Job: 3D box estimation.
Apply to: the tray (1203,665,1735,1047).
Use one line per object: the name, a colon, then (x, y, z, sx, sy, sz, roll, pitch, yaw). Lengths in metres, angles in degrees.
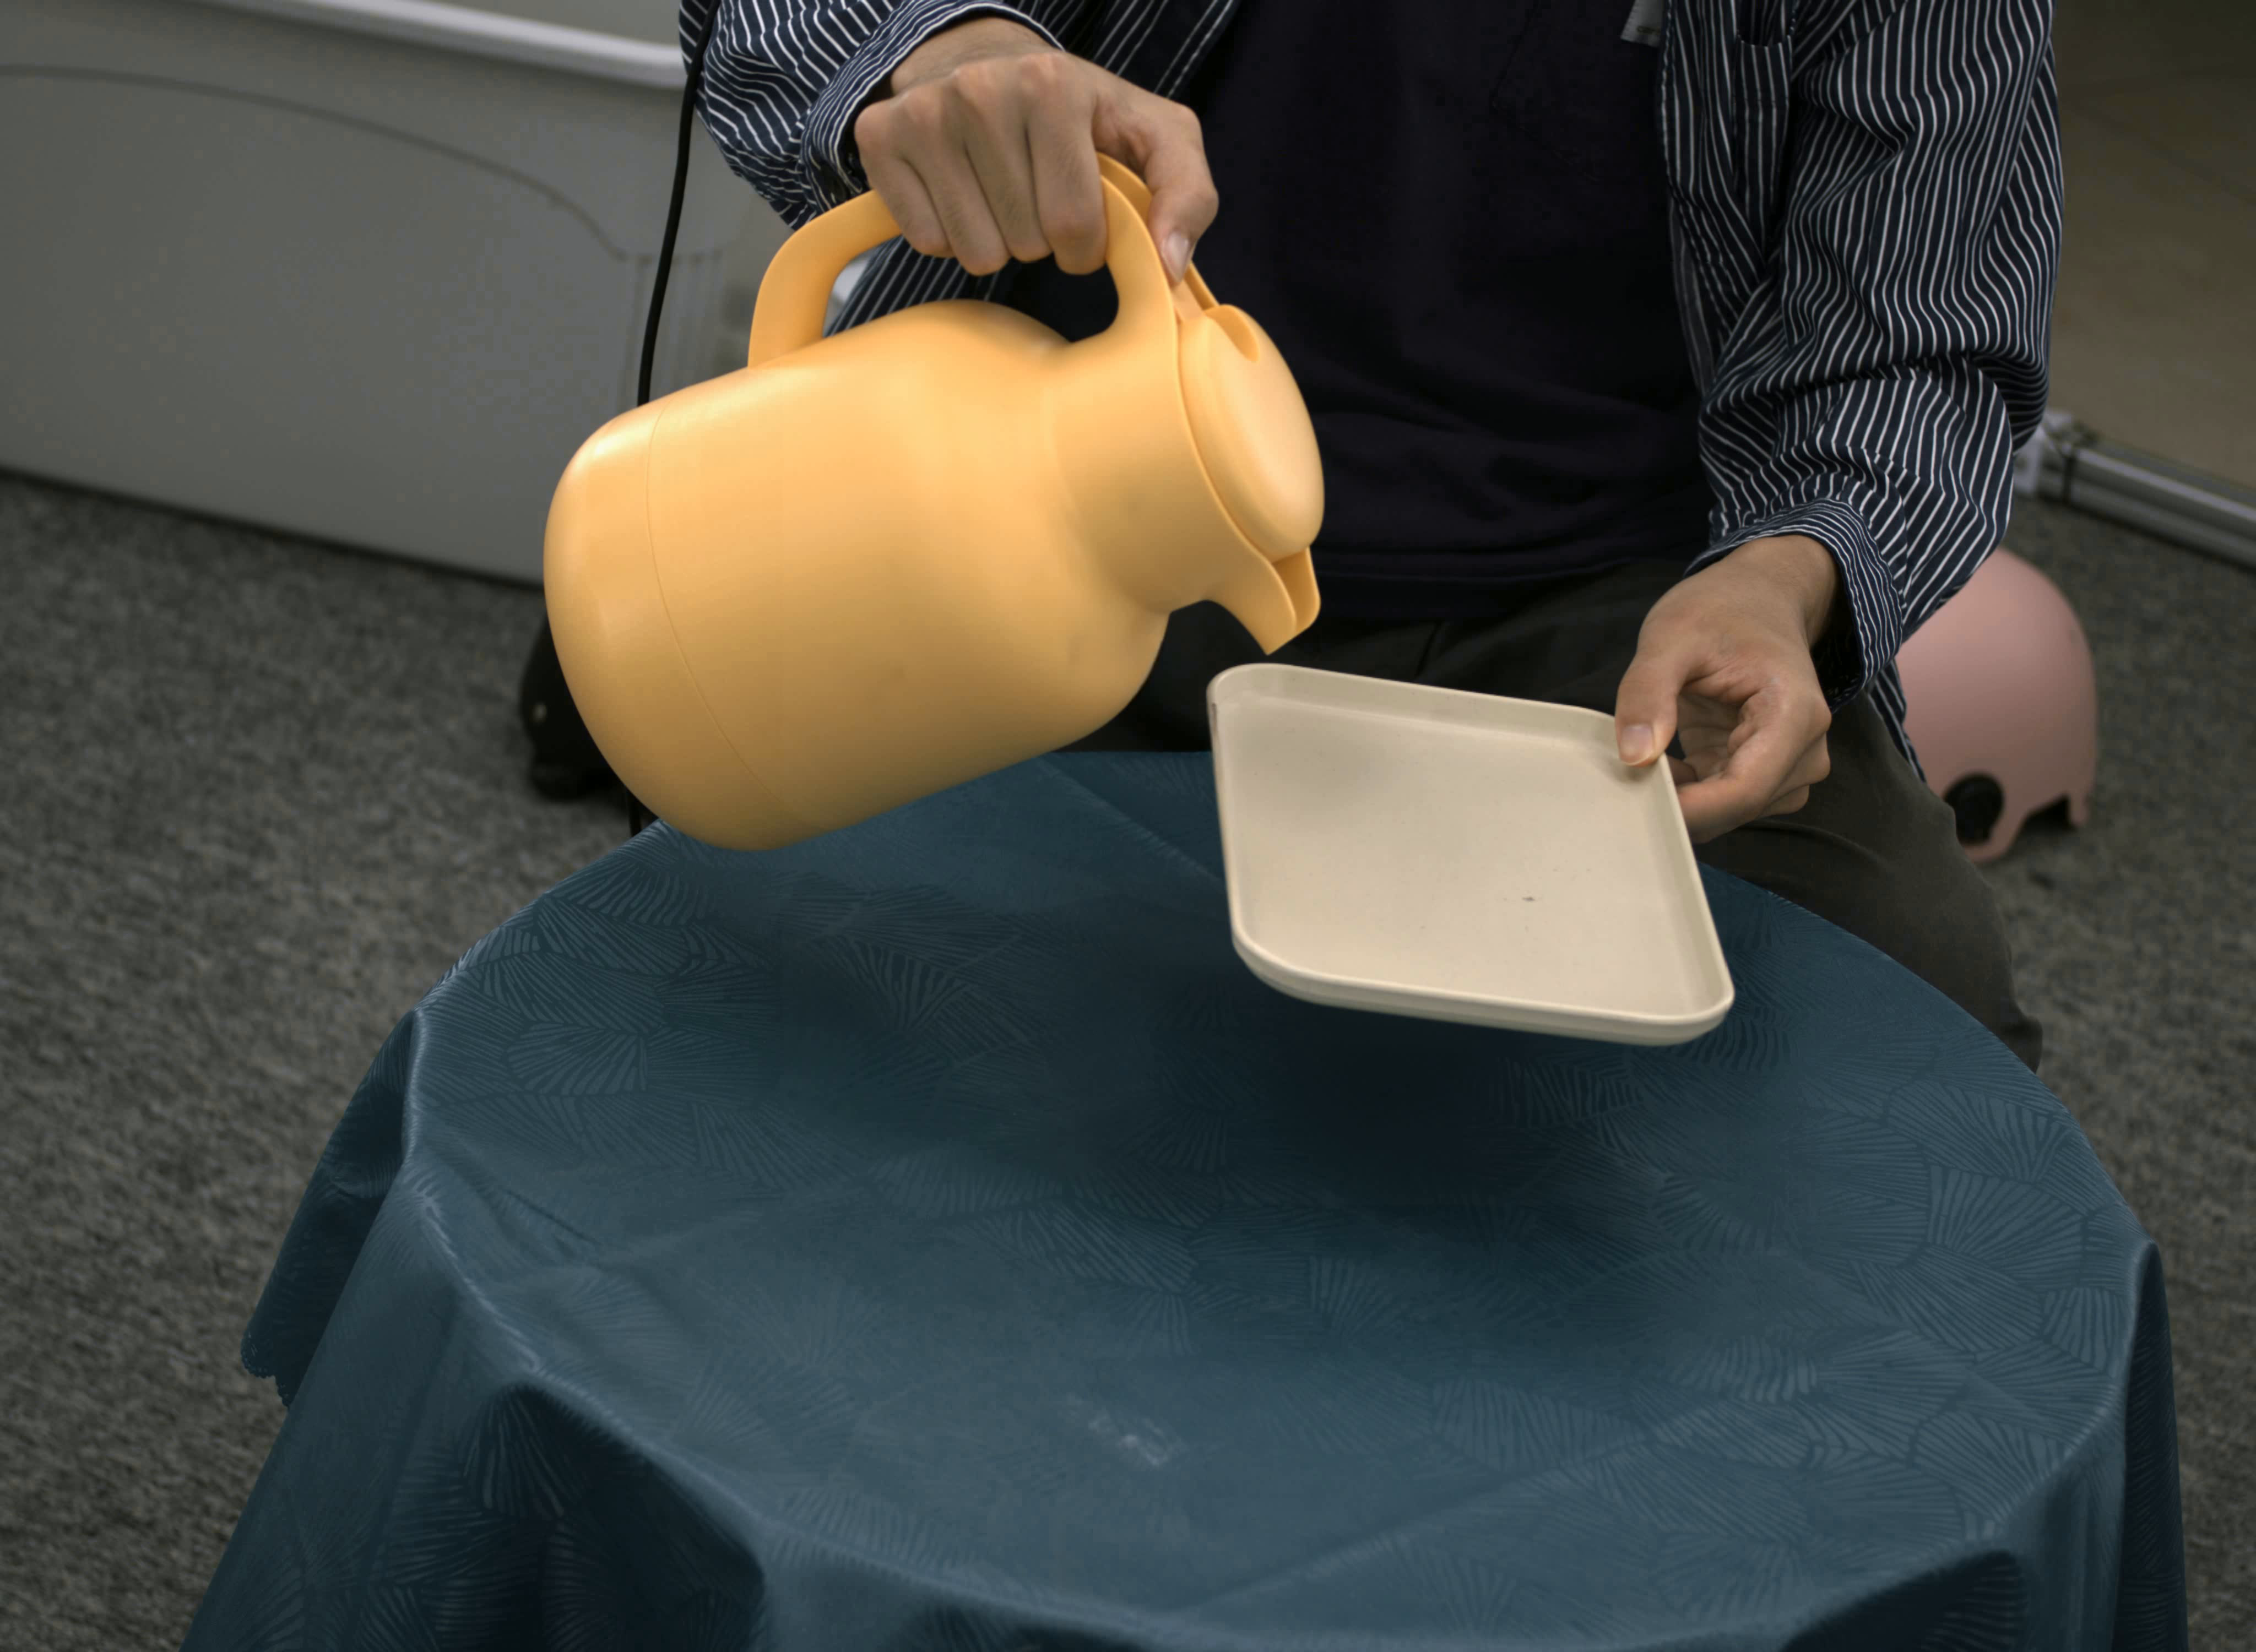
tray: (0.113, 0.010, 1.838, 0.170, 0.017, 0.241, 8, 26, -6)

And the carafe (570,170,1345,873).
carafe: (-0.061, -0.109, 1.844, 0.260, 0.202, 0.163, -19, 8, 22)
